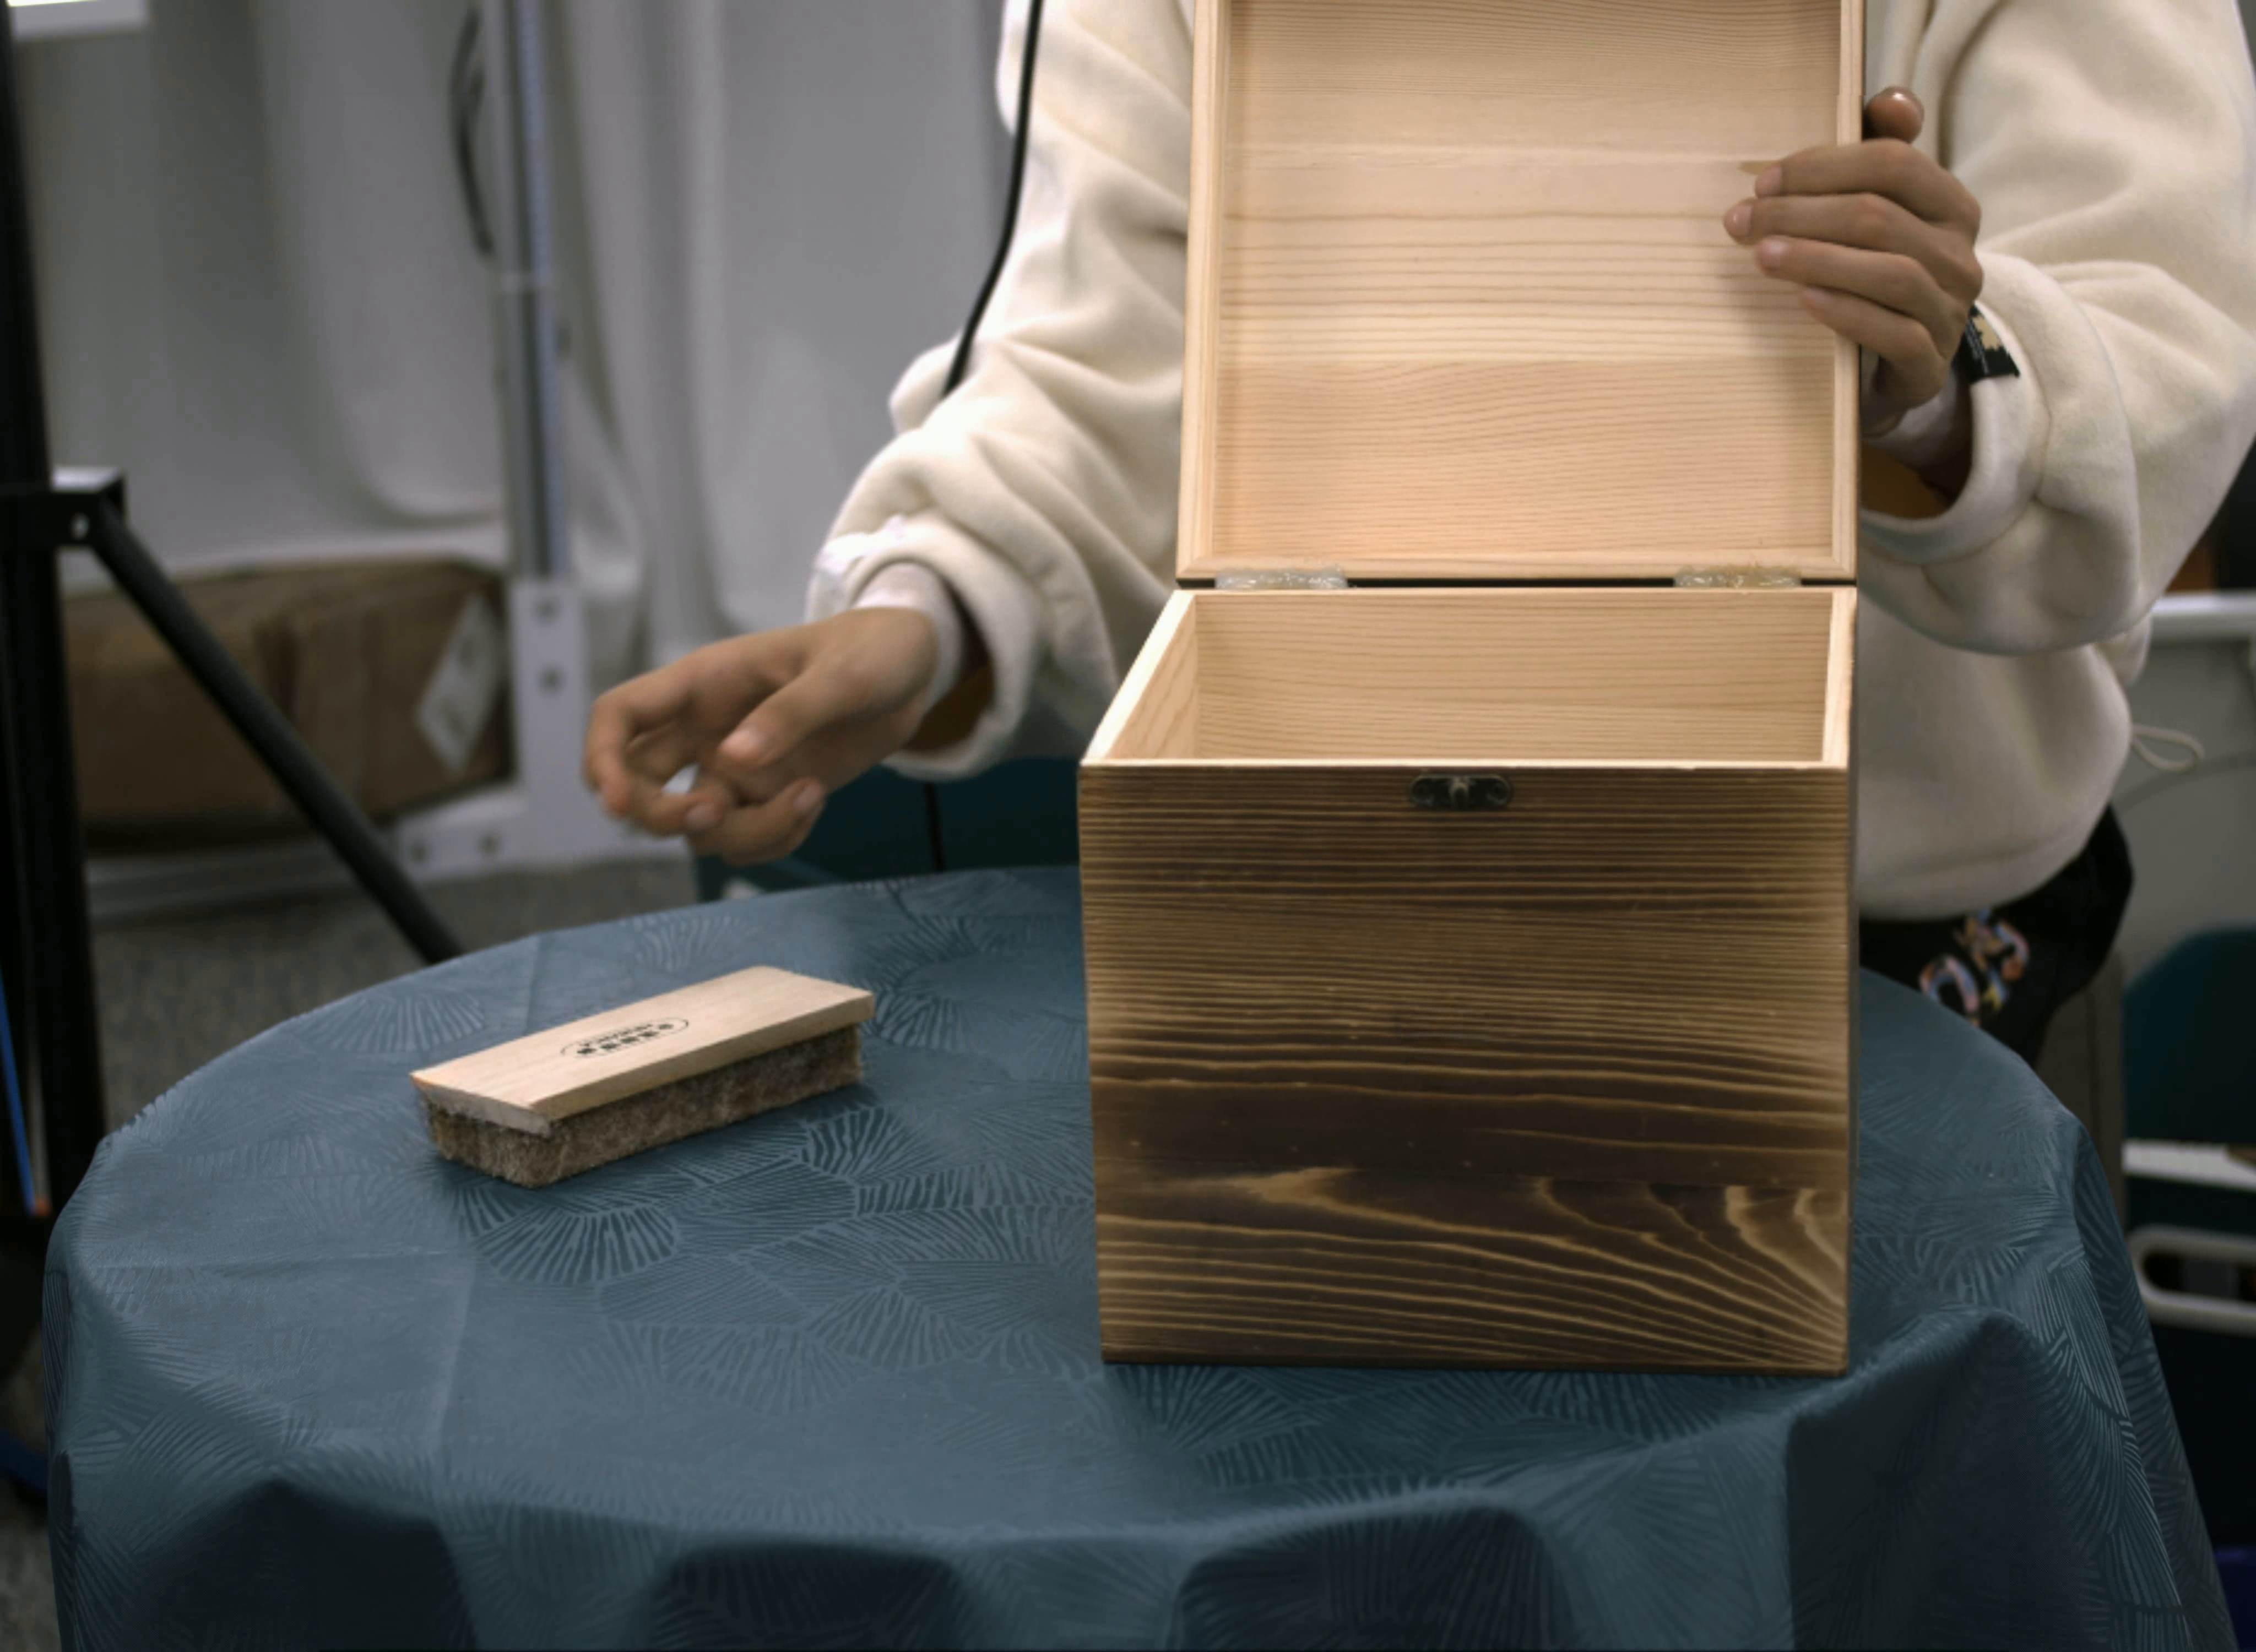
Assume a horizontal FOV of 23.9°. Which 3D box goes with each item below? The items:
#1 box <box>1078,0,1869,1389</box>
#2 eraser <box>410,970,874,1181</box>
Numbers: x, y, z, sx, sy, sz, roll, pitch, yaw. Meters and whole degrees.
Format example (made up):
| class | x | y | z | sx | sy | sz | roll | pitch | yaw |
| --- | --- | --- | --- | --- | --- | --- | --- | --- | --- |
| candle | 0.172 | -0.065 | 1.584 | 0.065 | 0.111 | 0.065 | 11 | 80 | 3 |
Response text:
| class | x | y | z | sx | sy | sz | roll | pitch | yaw |
| --- | --- | --- | --- | --- | --- | --- | --- | --- | --- |
| box | 0.103 | -0.071 | 1.502 | 0.209 | 0.375 | 0.321 | -1 | 16 | 9 |
| eraser | -0.148 | 0.076 | 1.643 | 0.136 | 0.029 | 0.058 | -15 | 18 | -39 |
